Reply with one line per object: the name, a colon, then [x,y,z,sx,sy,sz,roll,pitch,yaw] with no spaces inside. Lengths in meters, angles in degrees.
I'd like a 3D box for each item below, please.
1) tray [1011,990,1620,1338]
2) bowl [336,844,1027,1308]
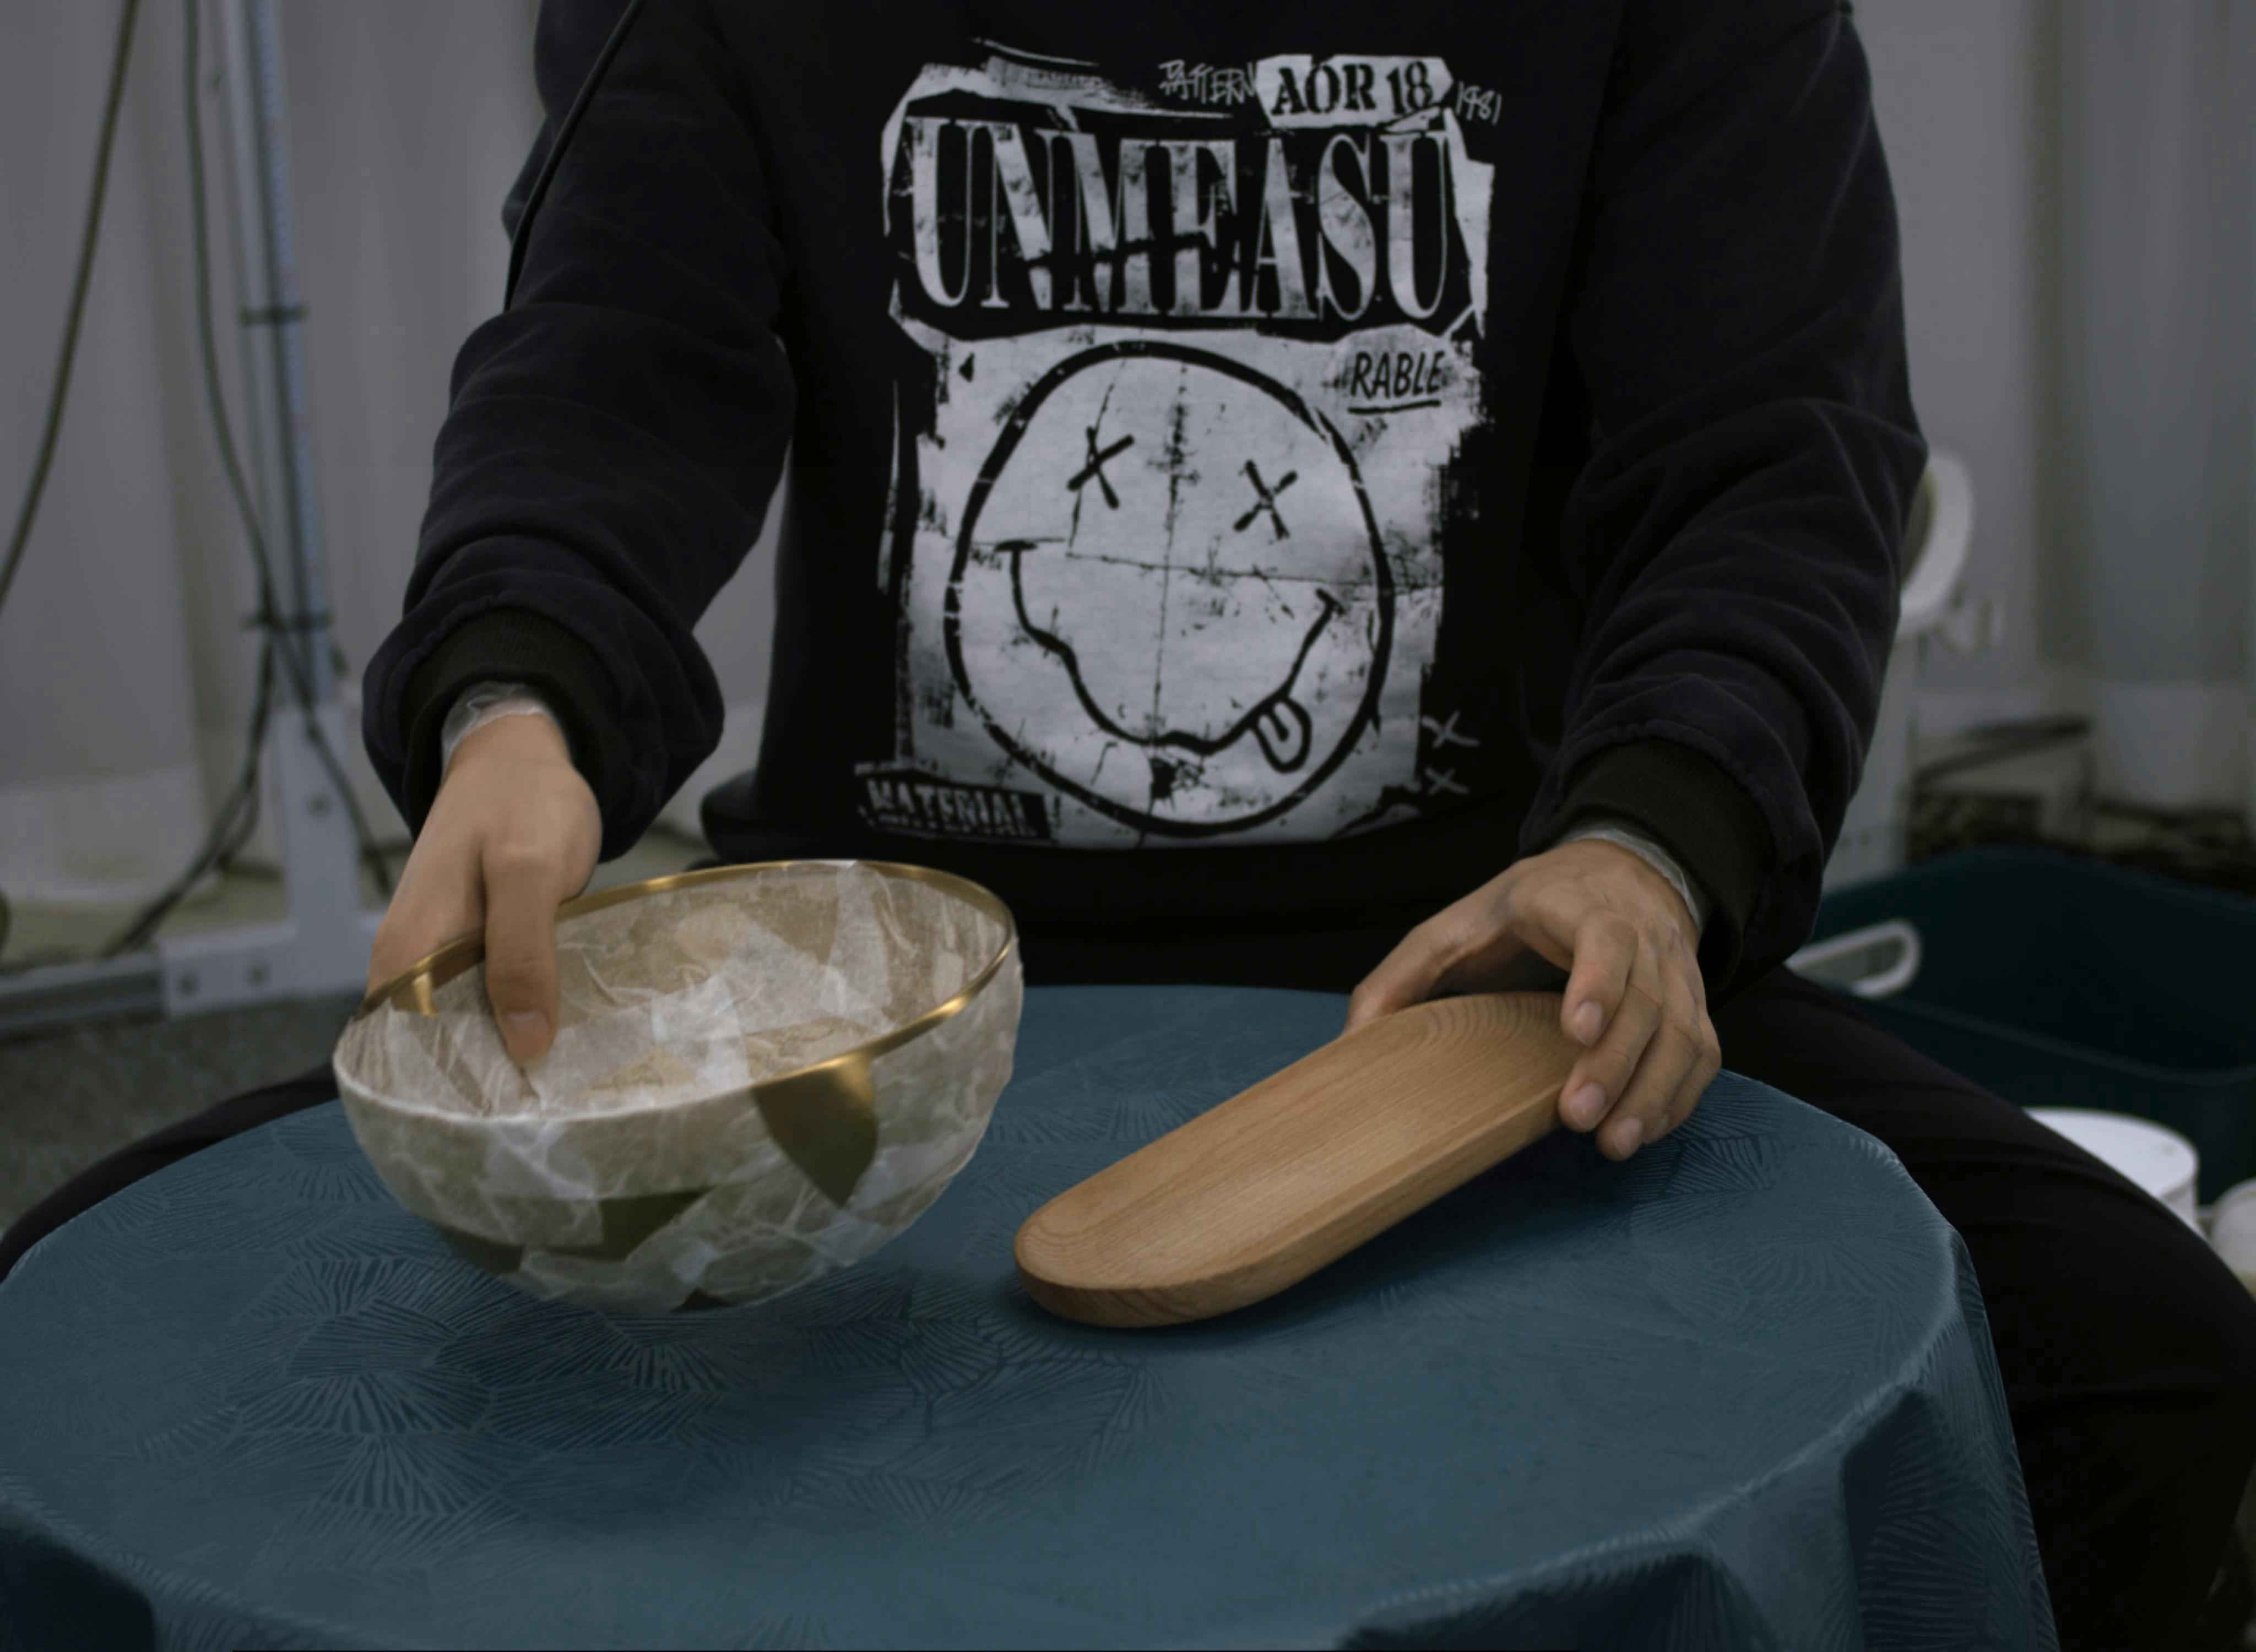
tray: [0.060,0.101,1.665,0.102,0.020,0.231,5,26,45]
bowl: [-0.120,0.083,1.597,0.214,0.094,0.216,-9,17,3]
